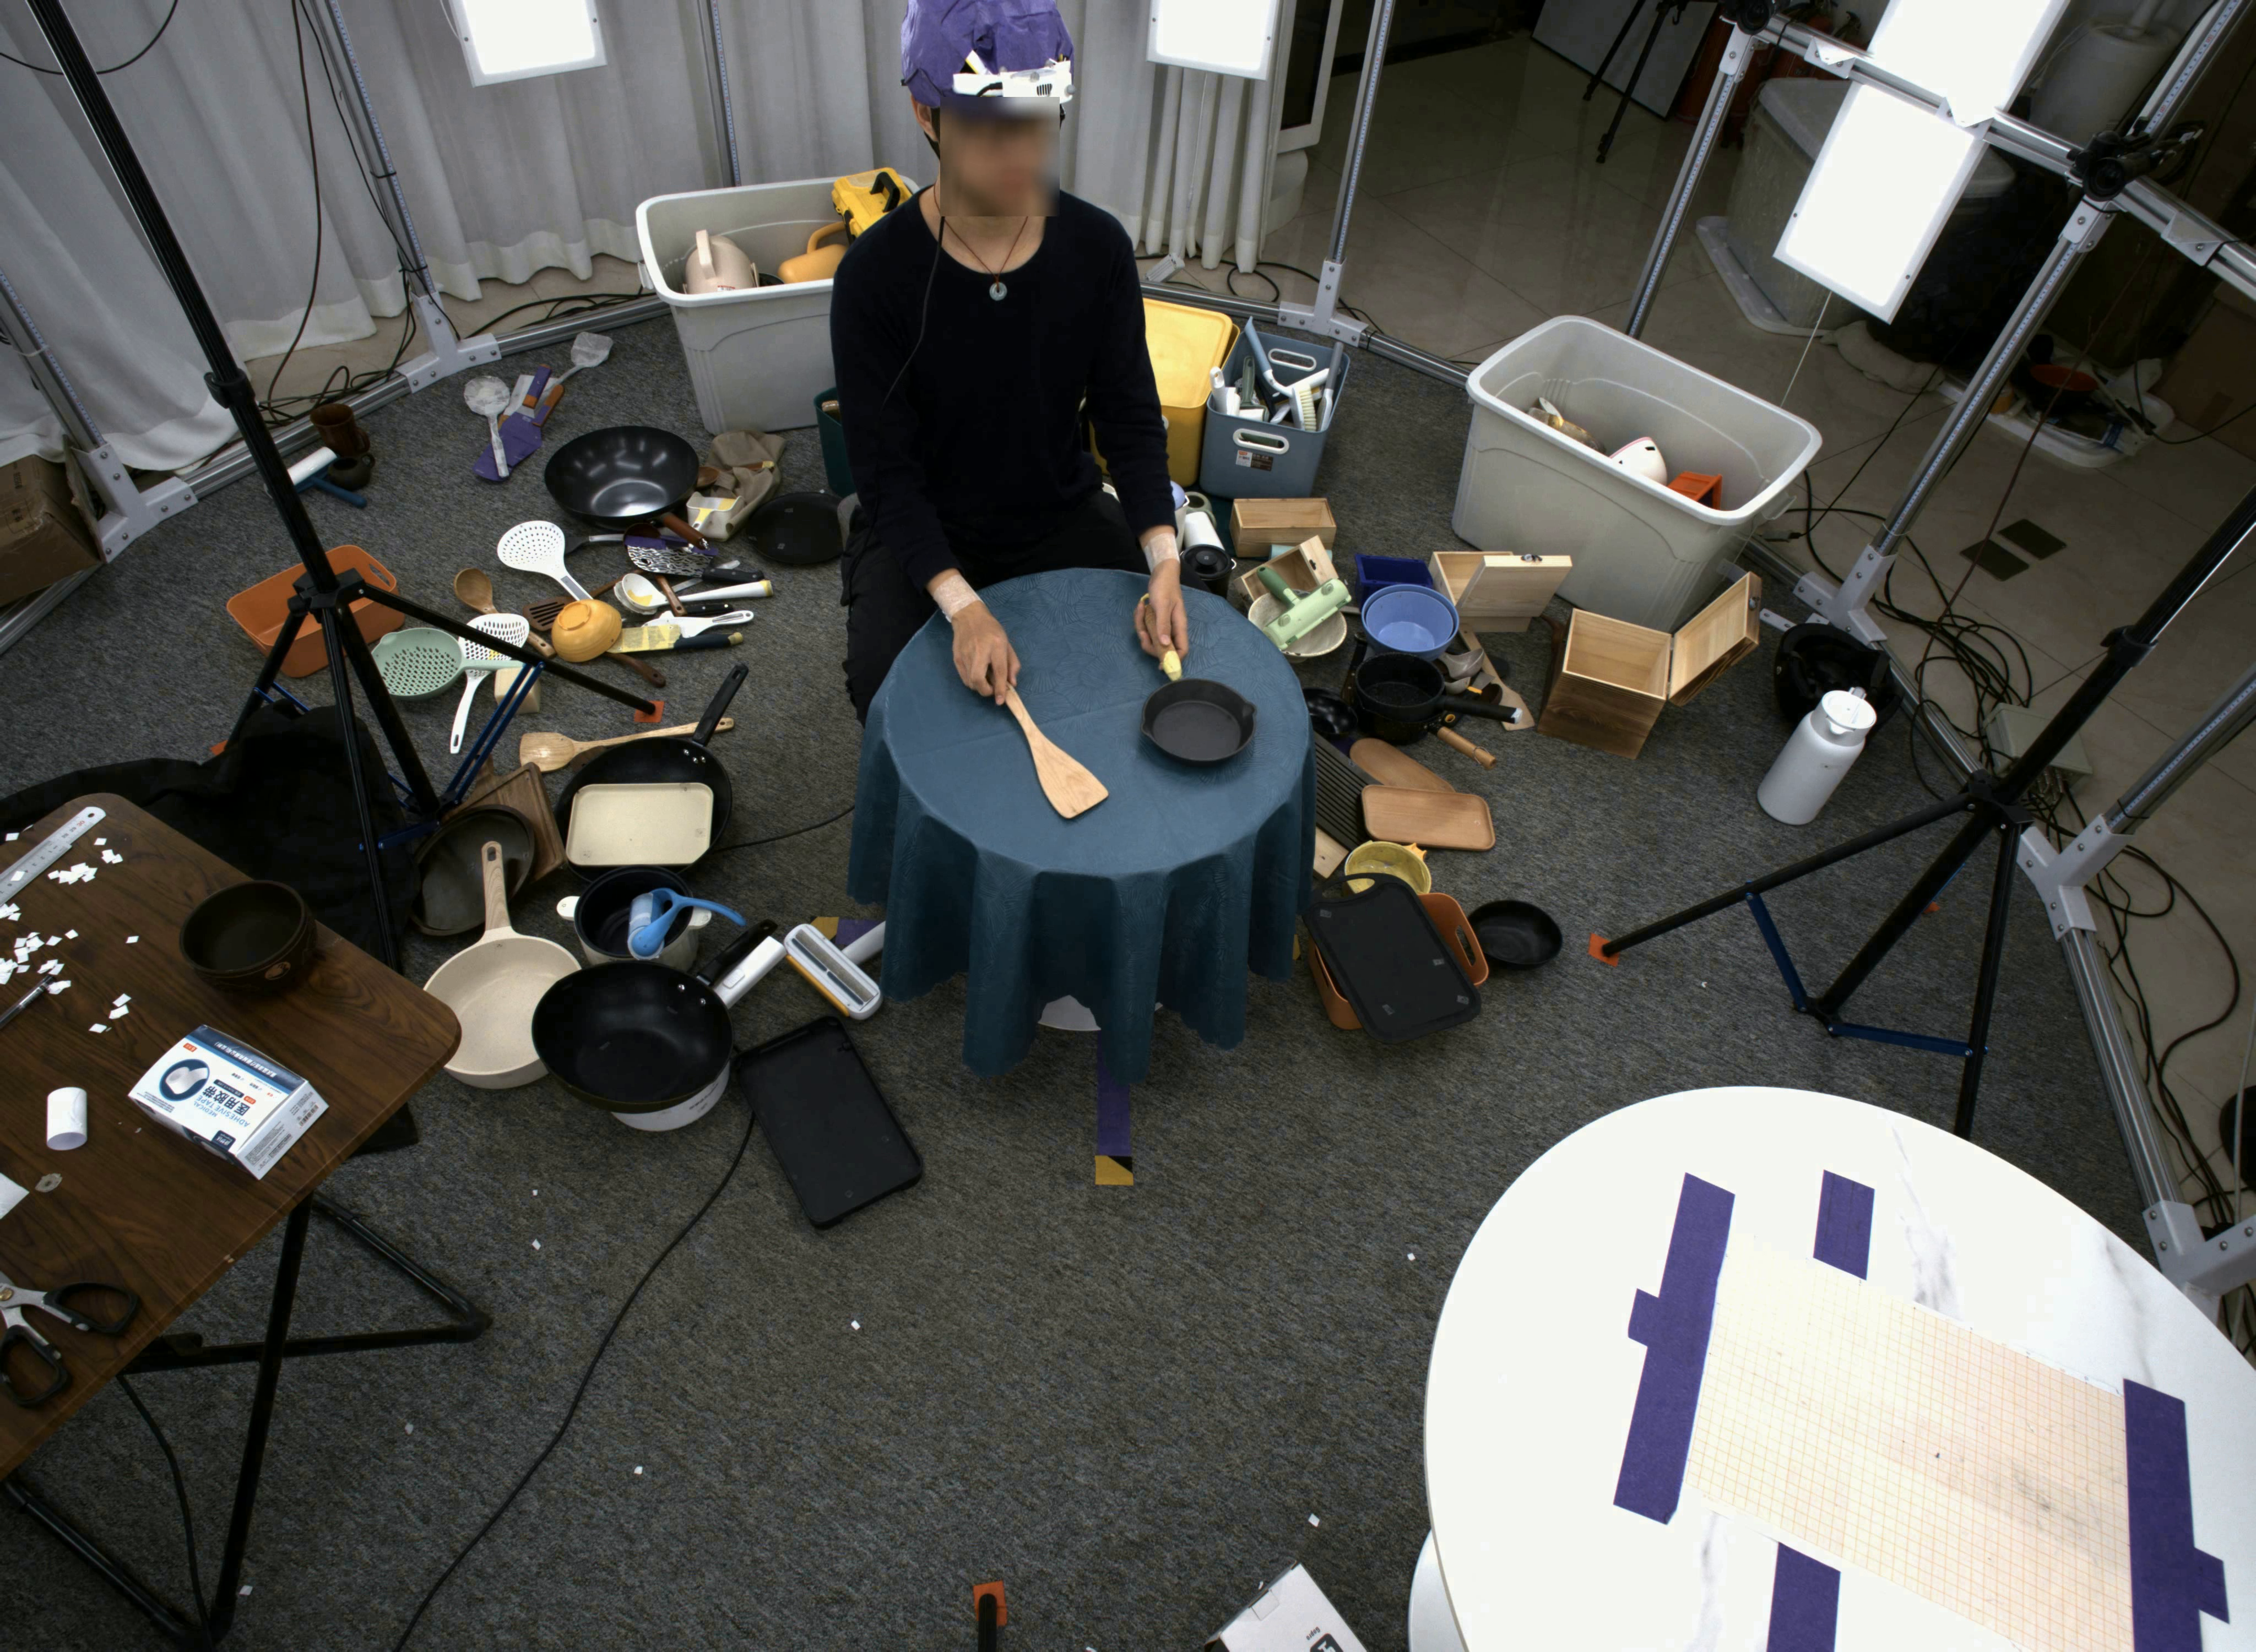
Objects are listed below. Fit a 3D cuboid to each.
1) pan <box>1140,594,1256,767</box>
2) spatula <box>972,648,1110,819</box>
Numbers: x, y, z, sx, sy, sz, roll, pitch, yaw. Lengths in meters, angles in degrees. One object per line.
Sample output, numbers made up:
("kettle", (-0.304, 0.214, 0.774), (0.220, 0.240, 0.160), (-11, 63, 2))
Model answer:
("pan", (0.074, -0.208, 1.822), (0.169, 0.048, 0.332), (-10, 52, -12))
("spatula", (-0.131, -0.136, 1.758), (0.080, 0.016, 0.334), (-19, 58, -26))
